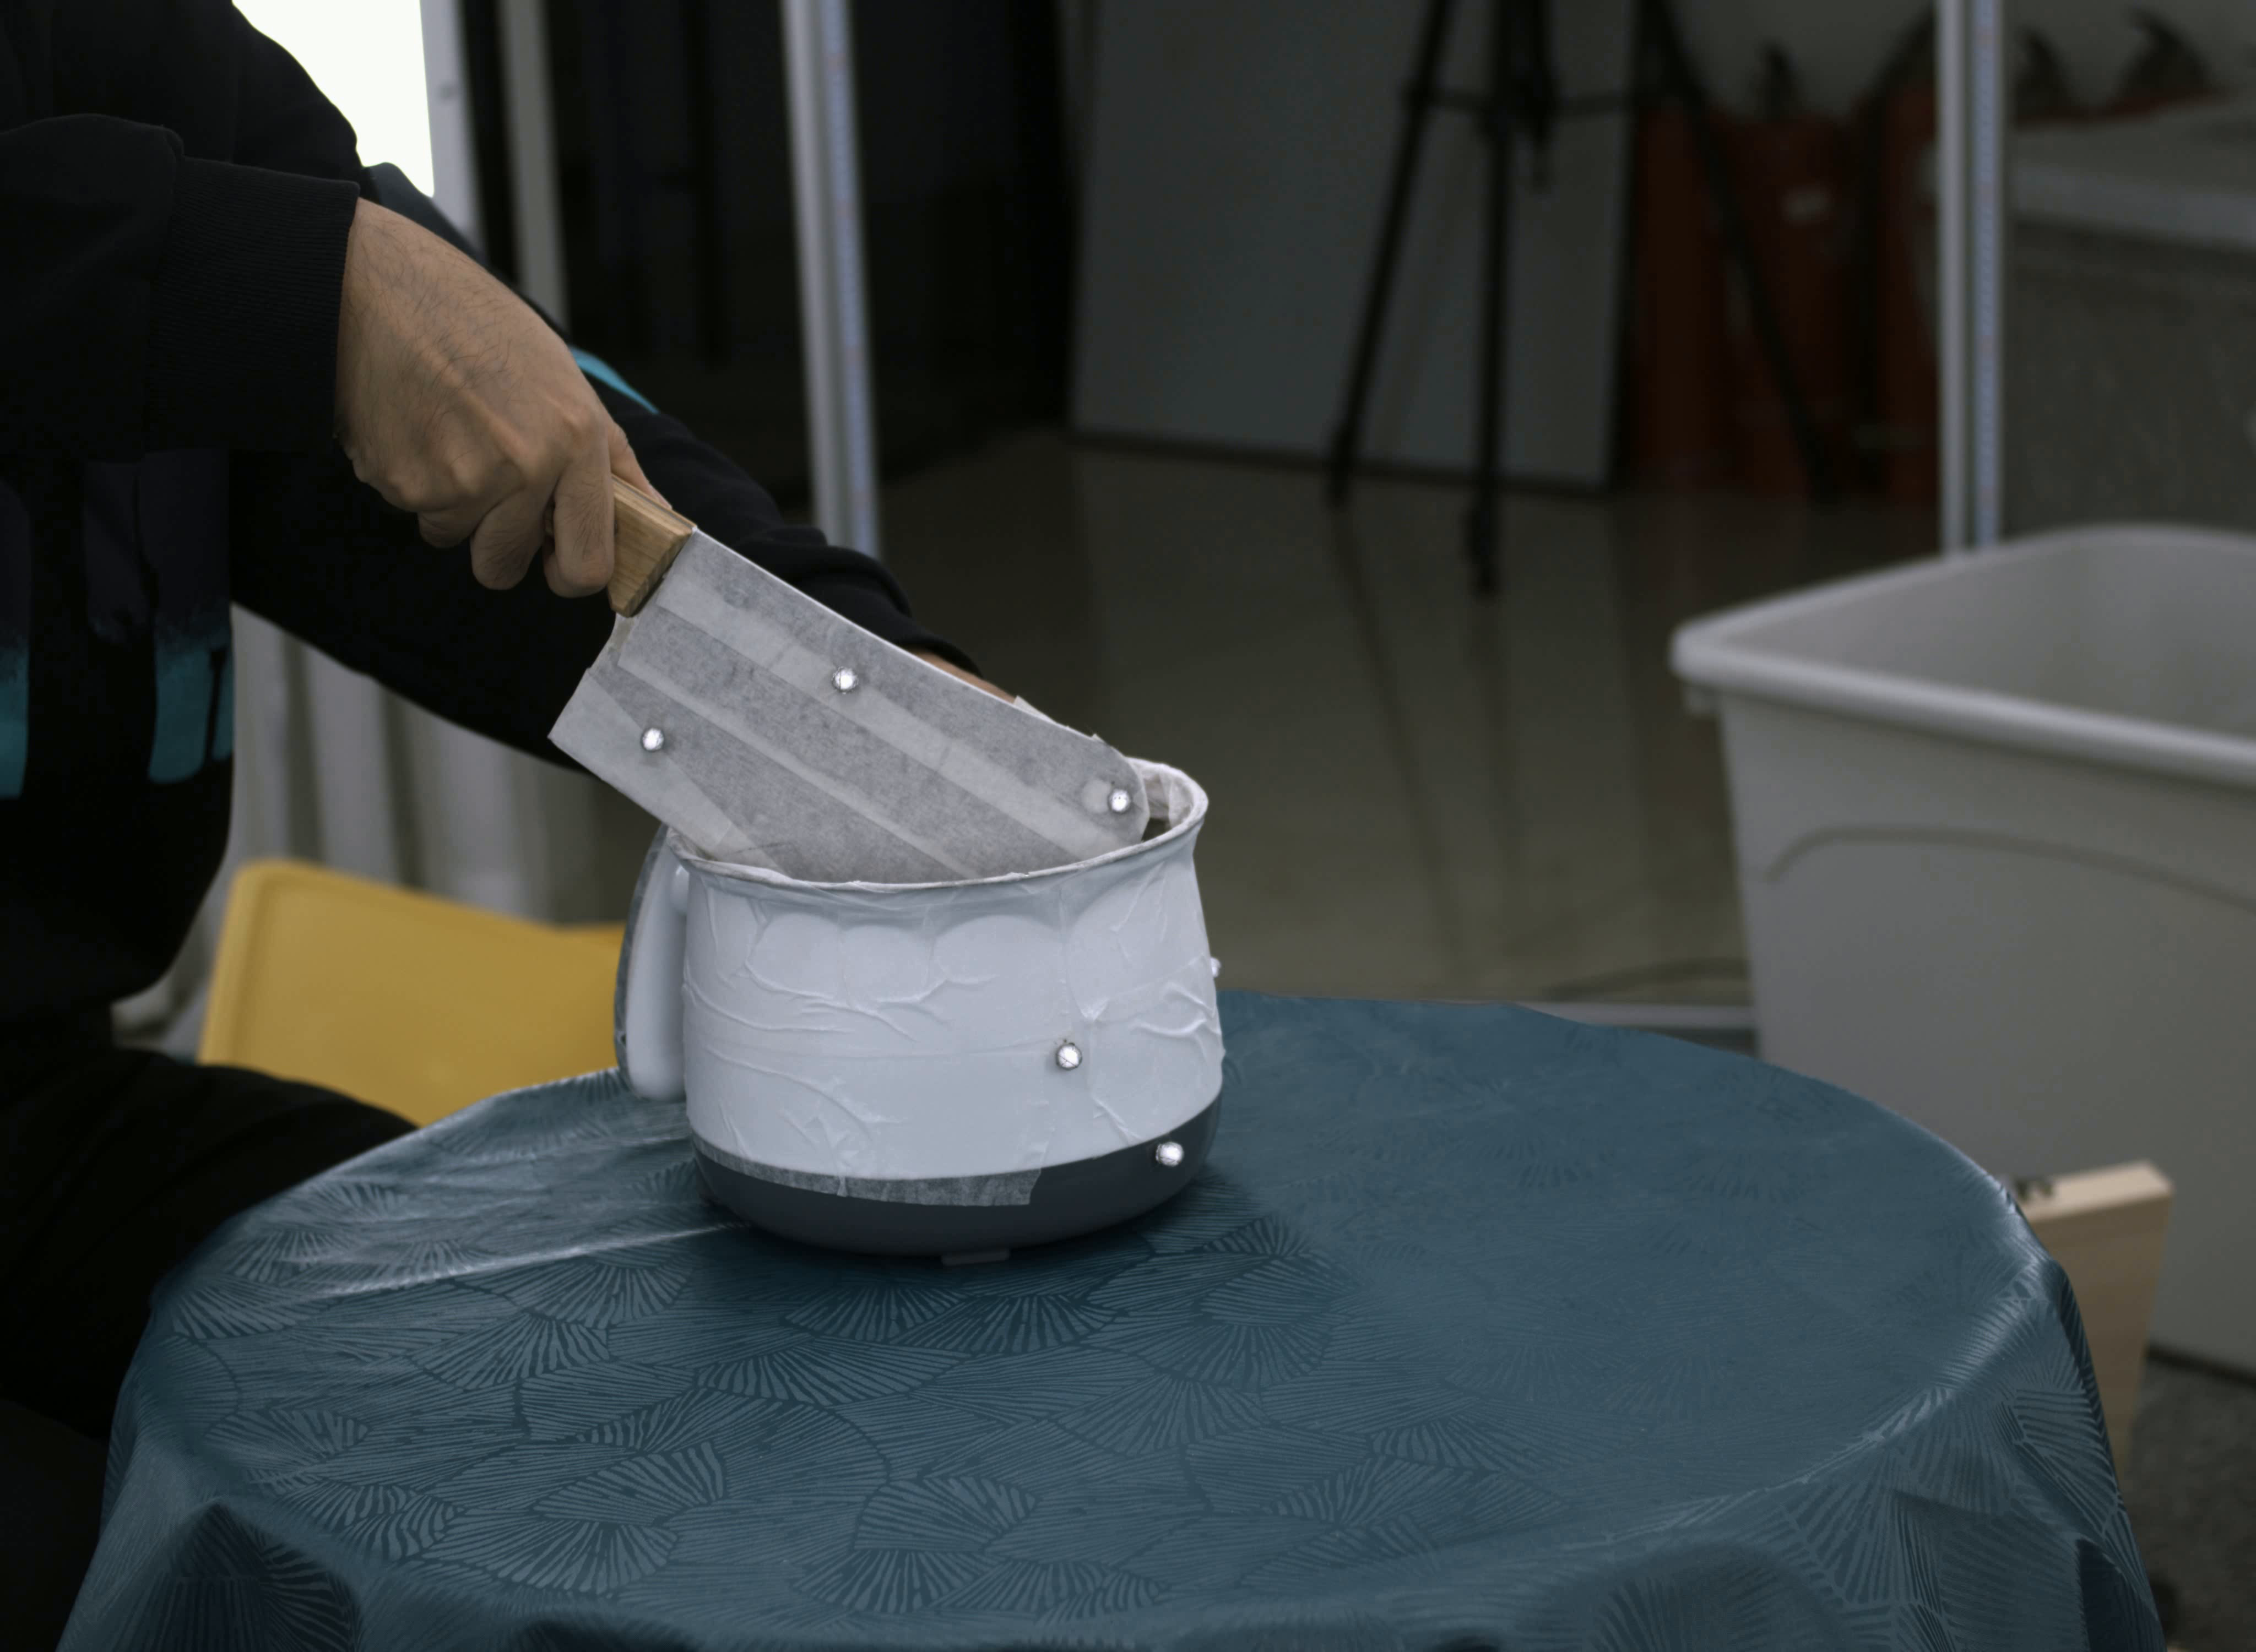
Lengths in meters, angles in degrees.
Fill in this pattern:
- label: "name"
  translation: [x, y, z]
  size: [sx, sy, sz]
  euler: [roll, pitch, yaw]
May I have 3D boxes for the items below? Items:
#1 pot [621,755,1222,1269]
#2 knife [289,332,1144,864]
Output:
- label: "pot"
  translation: [-0.079, 0.053, 1.778]
  size: [0.235, 0.138, 0.175]
  euler: [8, 17, 38]
- label: "knife"
  translation: [-0.133, -0.056, 1.718]
  size: [0.314, 0.115, 0.021]
  euler: [36, 13, 2]
